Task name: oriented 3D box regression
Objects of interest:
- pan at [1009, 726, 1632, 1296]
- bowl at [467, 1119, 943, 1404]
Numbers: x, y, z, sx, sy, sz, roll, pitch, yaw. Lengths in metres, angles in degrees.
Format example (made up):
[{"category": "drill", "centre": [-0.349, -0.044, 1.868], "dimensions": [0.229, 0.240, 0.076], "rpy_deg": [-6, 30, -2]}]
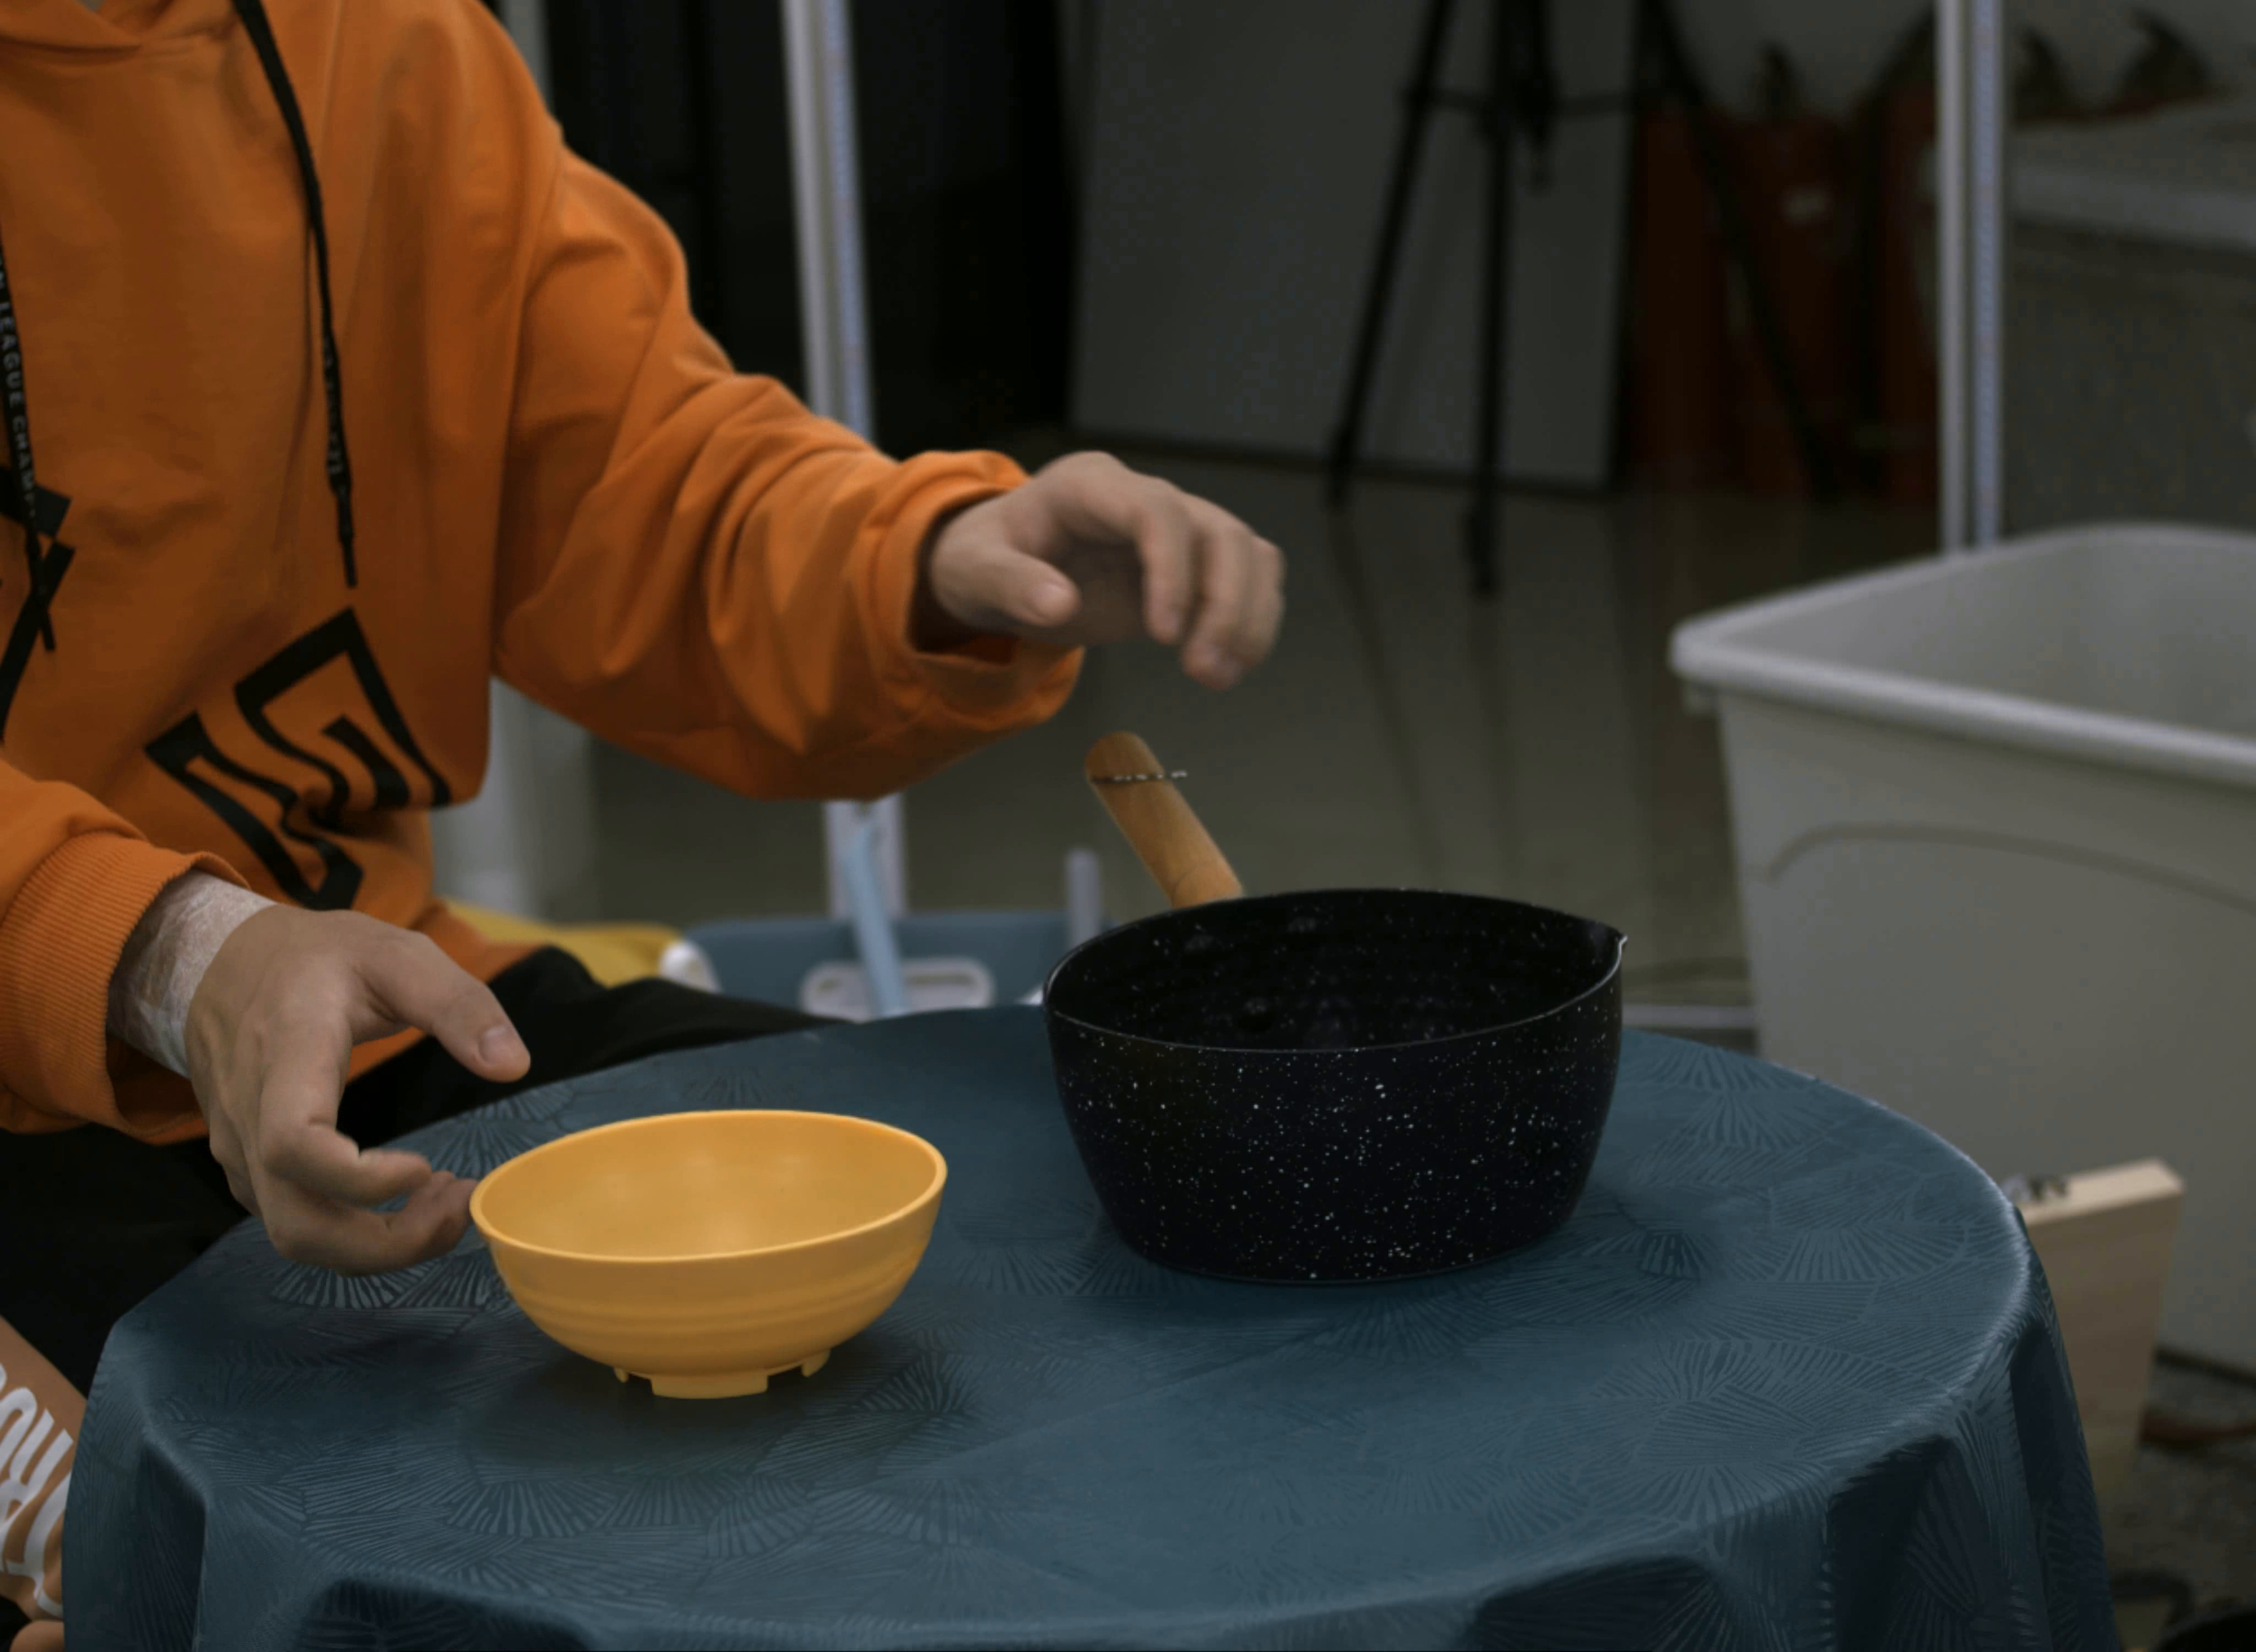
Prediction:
[{"category": "pan", "centre": [0.044, 0.056, 1.795], "dimensions": [0.203, 0.109, 0.346], "rpy_deg": [-9, 16, -15]}, {"category": "bowl", "centre": [-0.125, 0.136, 1.628], "dimensions": [0.143, 0.061, 0.145], "rpy_deg": [-4, 13, 0]}]
